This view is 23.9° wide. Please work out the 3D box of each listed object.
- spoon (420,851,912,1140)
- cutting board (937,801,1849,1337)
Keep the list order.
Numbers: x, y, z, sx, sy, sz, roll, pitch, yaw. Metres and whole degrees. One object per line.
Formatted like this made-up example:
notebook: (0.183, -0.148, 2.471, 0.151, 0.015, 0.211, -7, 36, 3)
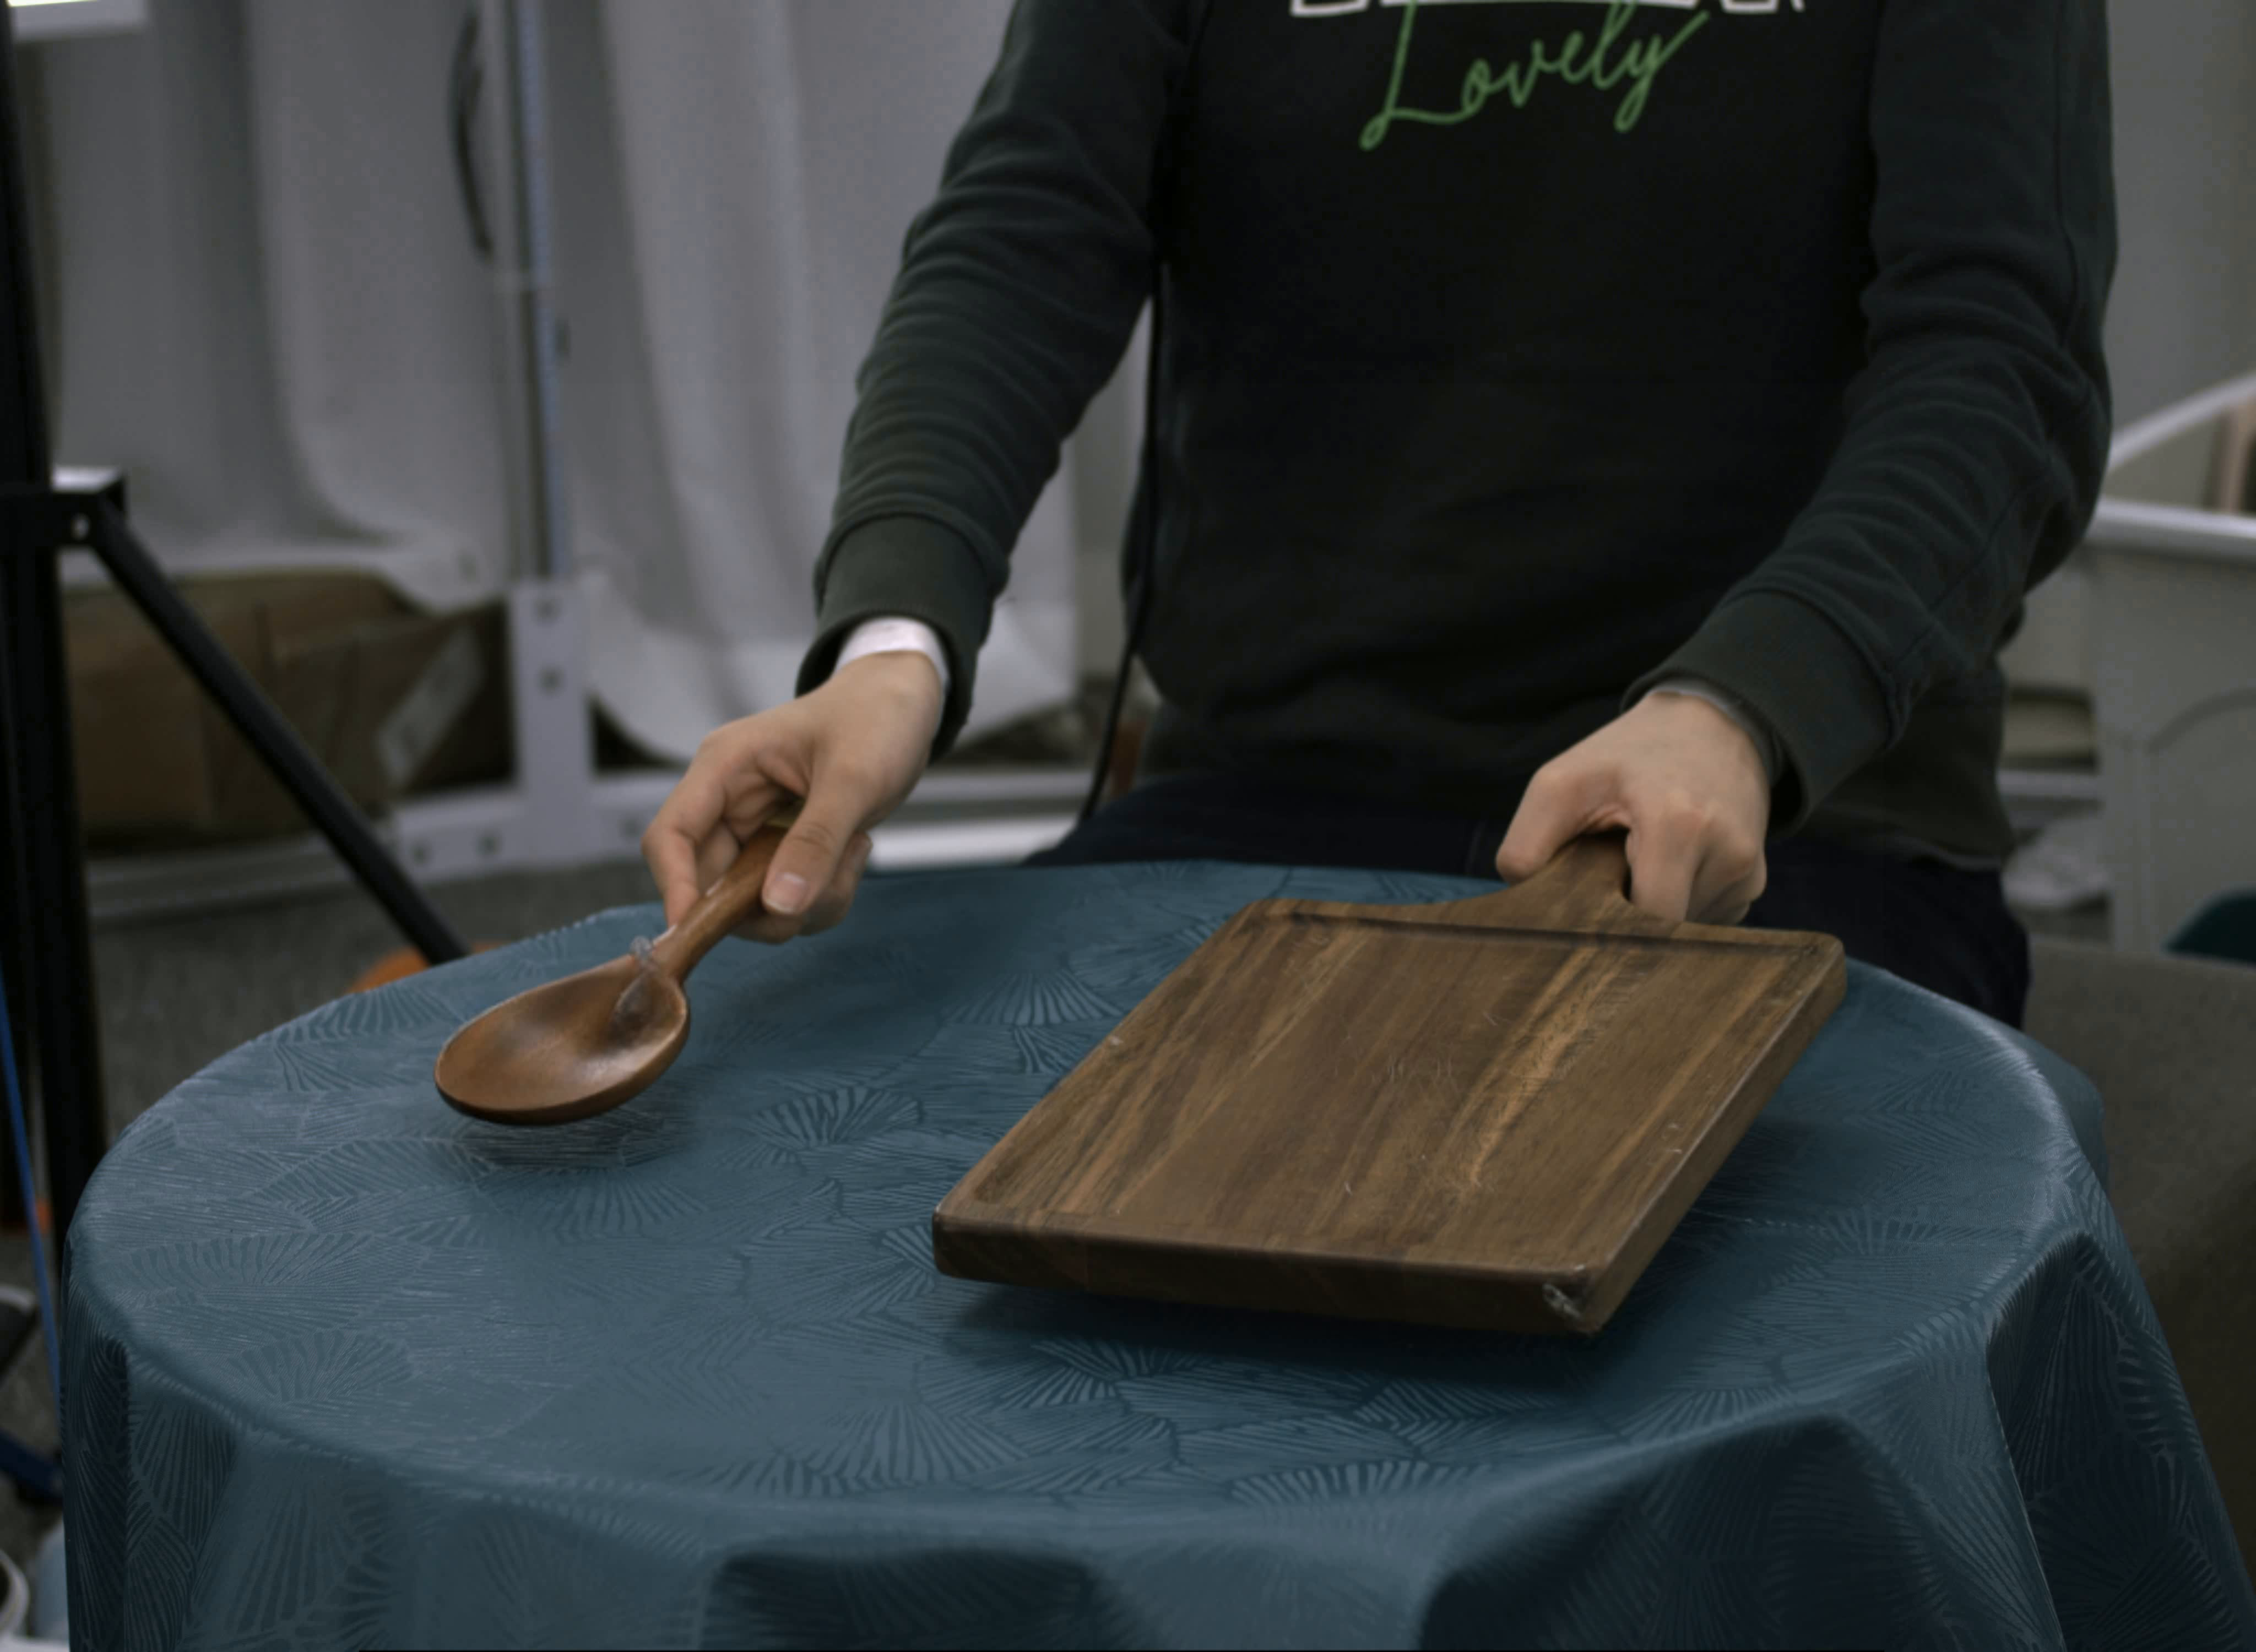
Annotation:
spoon: (-0.137, 0.054, 1.672, 0.077, 0.017, 0.212, 12, 29, 34)
cutting board: (0.100, 0.062, 1.560, 0.204, 0.023, 0.348, 2, 21, 24)
